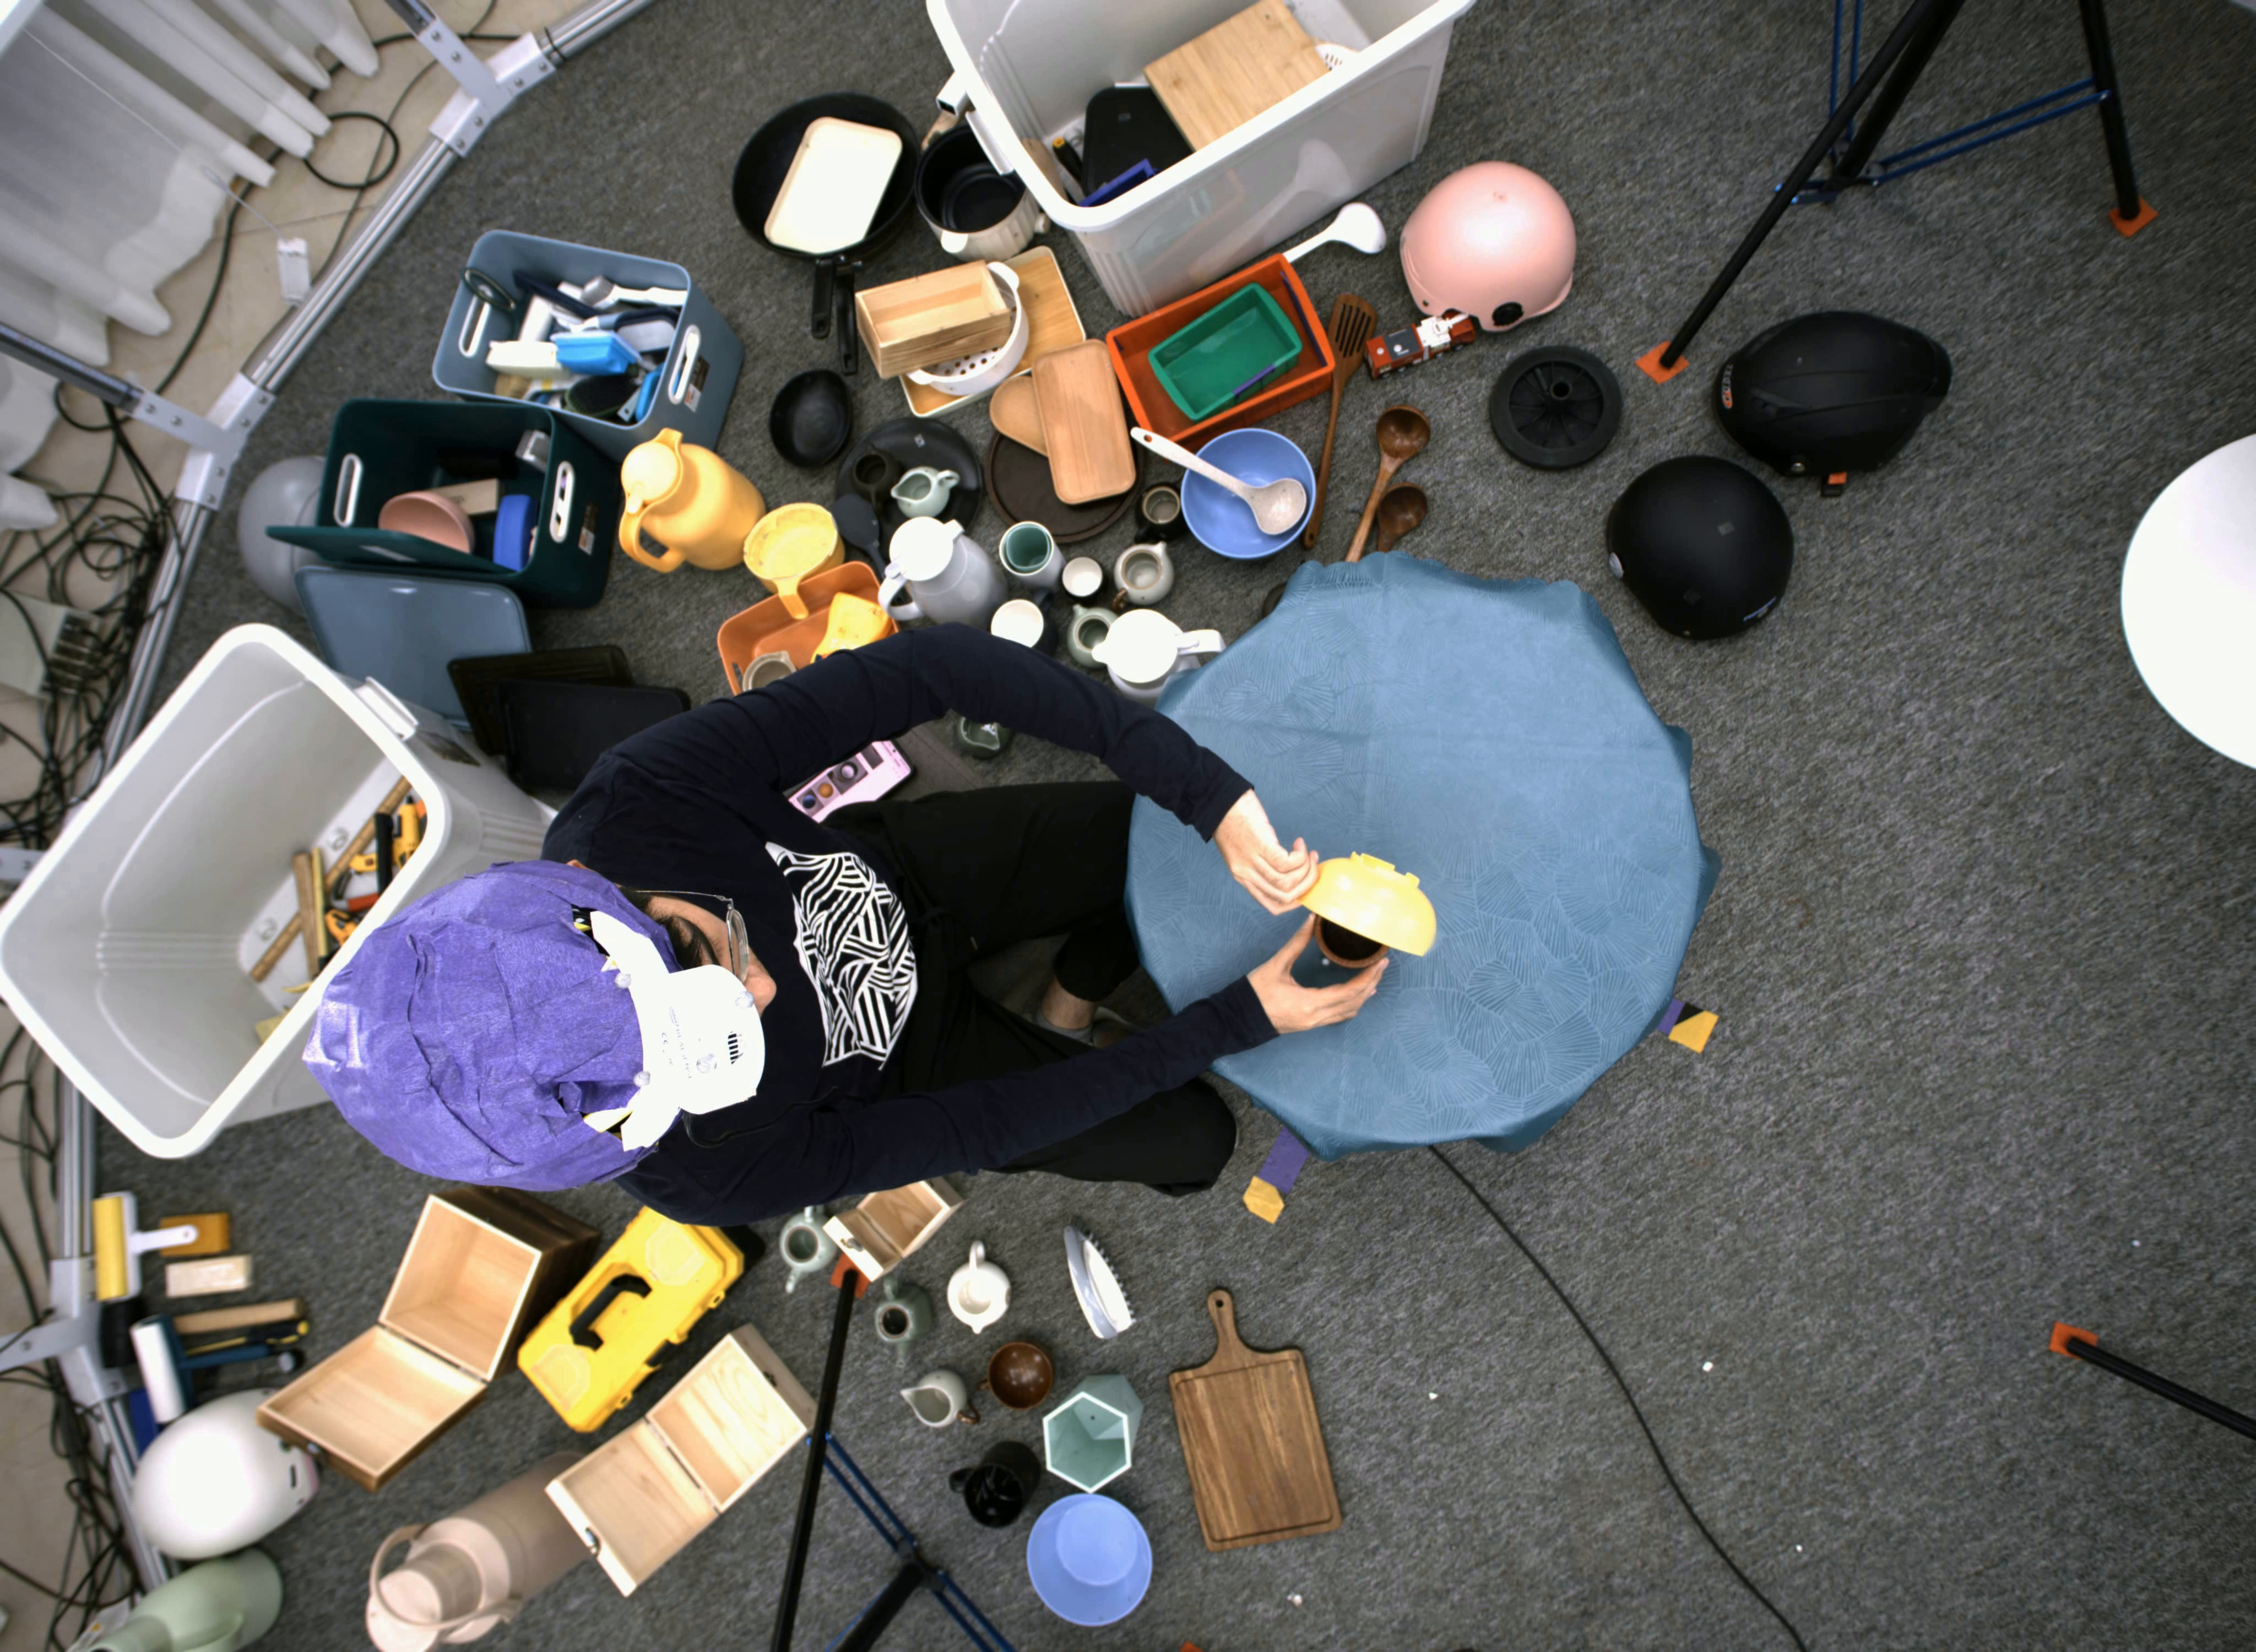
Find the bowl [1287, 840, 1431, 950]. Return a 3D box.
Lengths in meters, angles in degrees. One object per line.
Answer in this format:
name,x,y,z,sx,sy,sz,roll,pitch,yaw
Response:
bowl,0.224,0.053,1.278,0.145,0.143,0.061,28,104,11

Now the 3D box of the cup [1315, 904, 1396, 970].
cup,0.234,0.104,1.404,0.088,0.119,0.087,-2,82,11
